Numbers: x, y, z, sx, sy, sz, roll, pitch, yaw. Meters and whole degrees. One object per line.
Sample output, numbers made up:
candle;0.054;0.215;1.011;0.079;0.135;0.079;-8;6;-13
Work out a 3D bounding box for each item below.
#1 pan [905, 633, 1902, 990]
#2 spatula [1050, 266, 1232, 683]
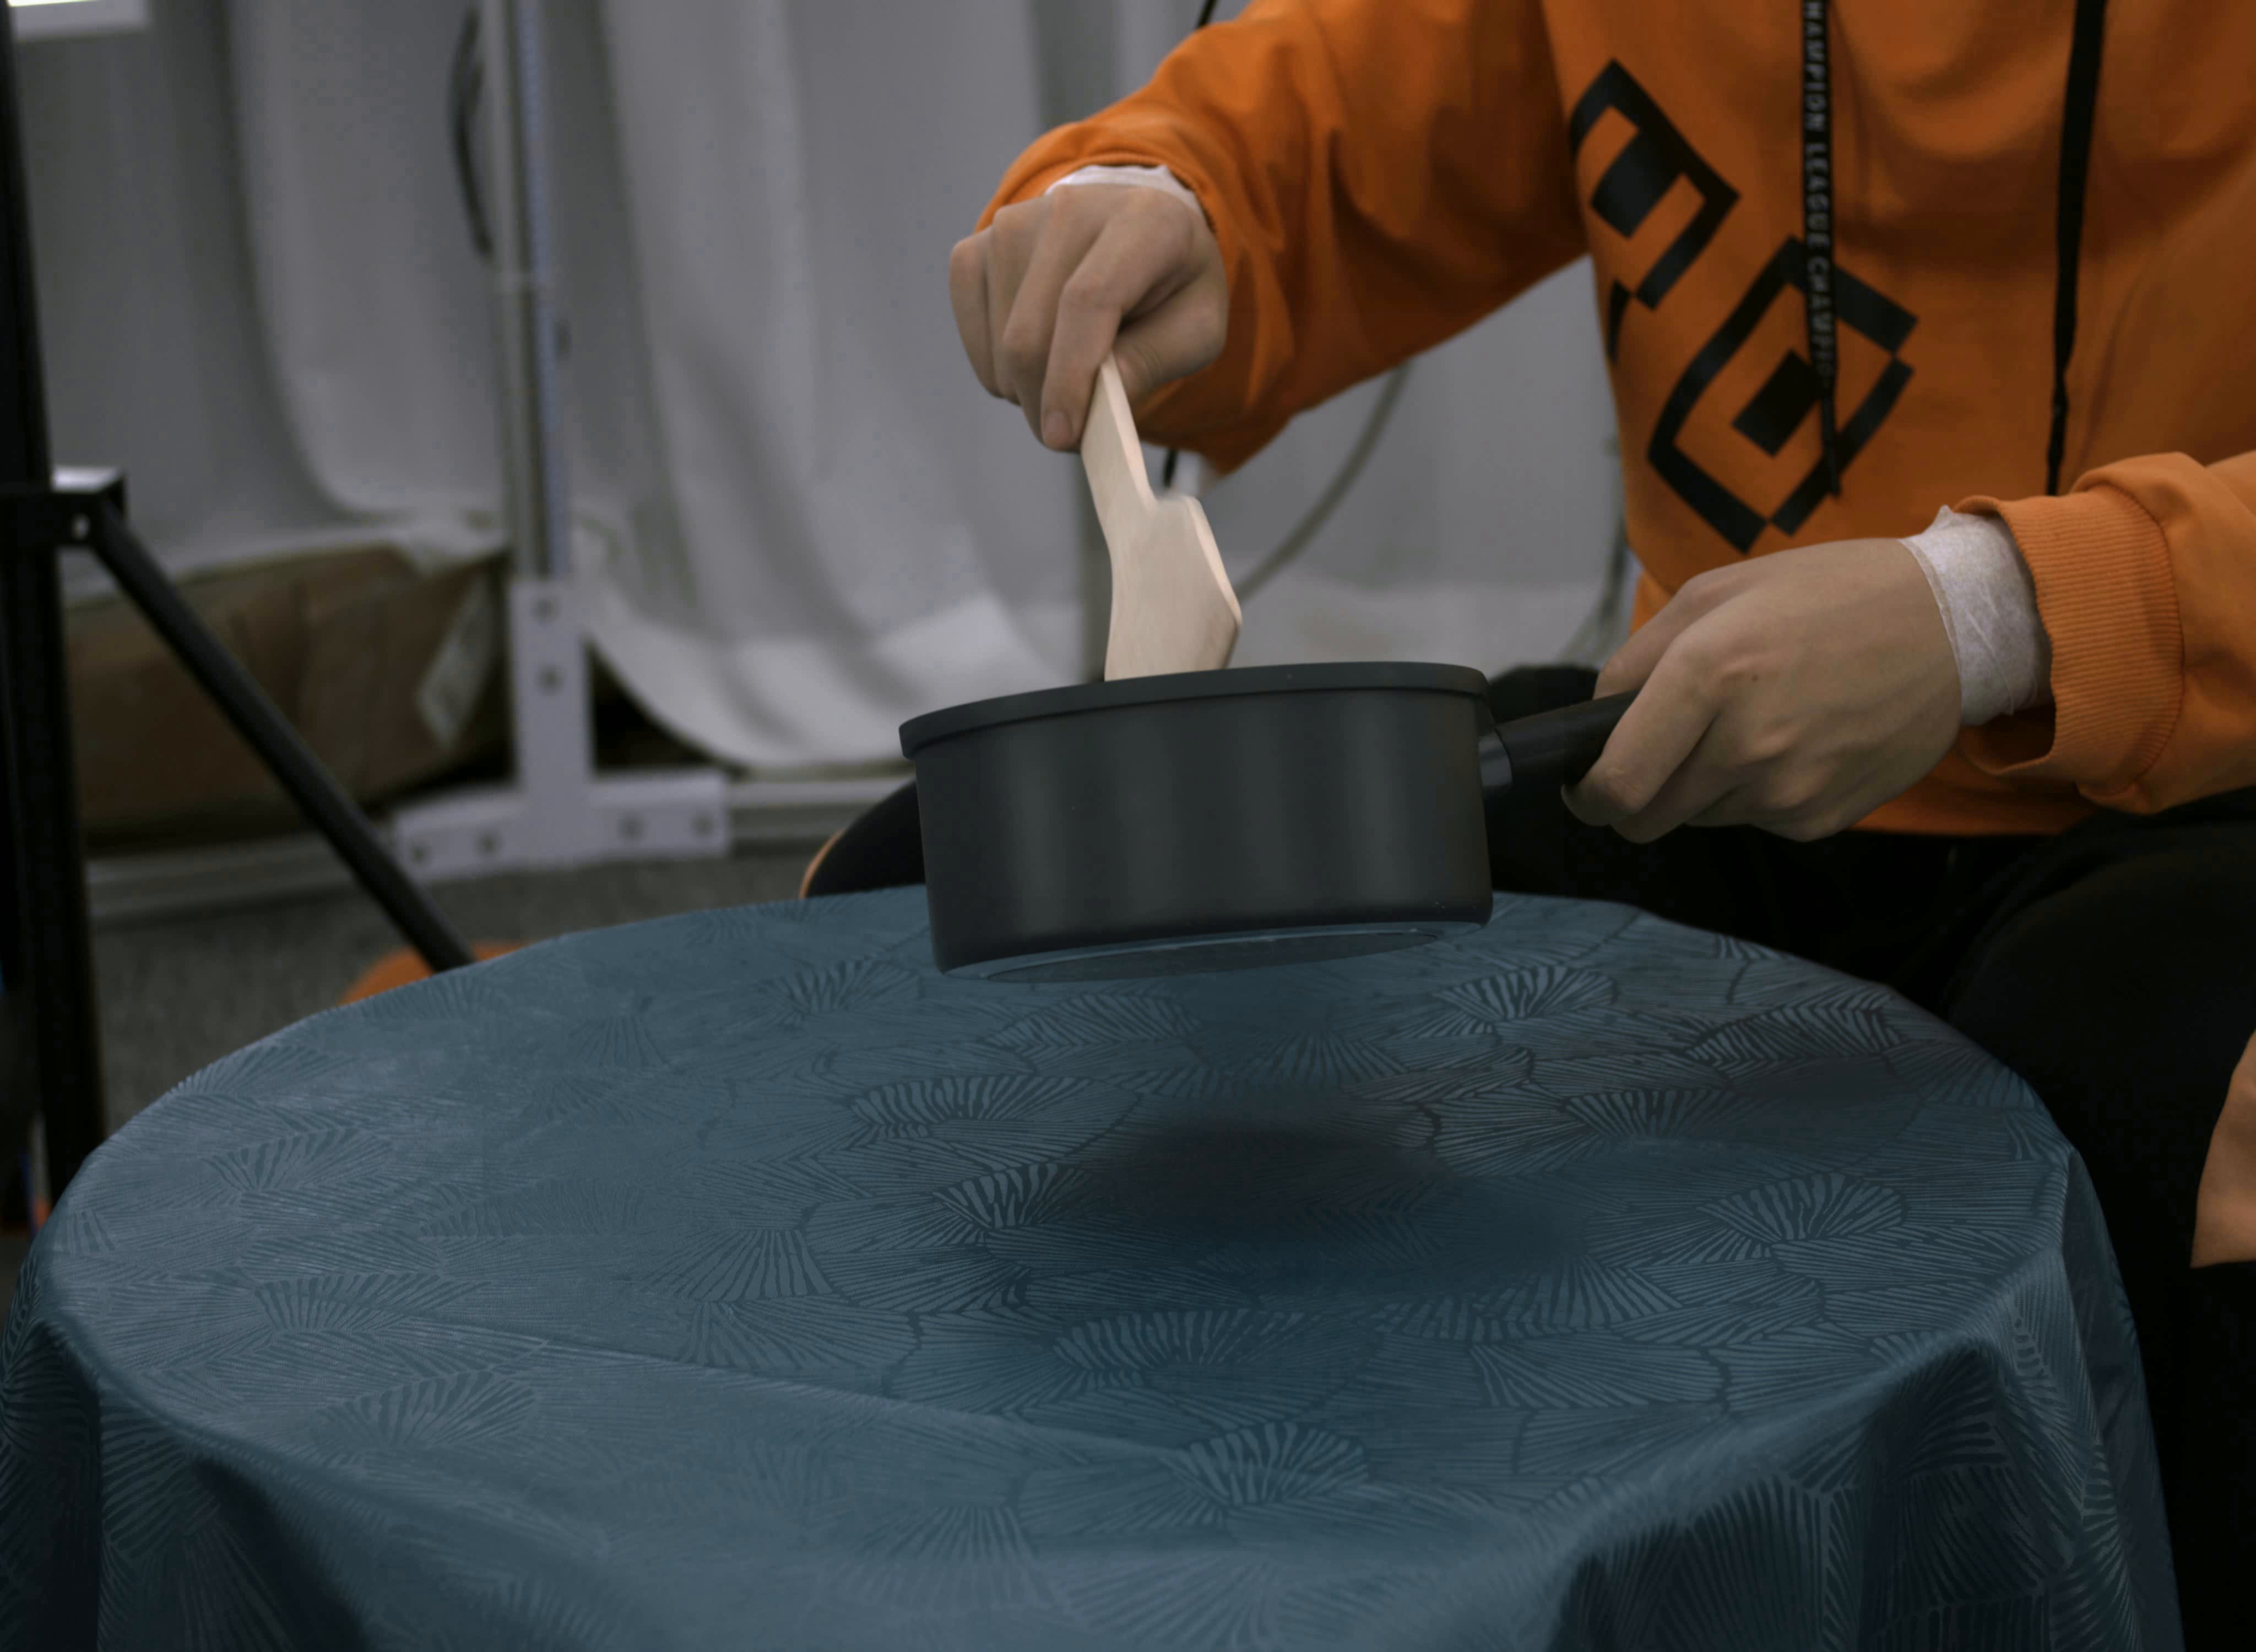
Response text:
pan;0.092;-0.005;1.574;0.321;0.087;0.175;-4;-4;-27
spatula;-0.002;-0.106;1.629;0.010;0.072;0.297;11;26;-14
